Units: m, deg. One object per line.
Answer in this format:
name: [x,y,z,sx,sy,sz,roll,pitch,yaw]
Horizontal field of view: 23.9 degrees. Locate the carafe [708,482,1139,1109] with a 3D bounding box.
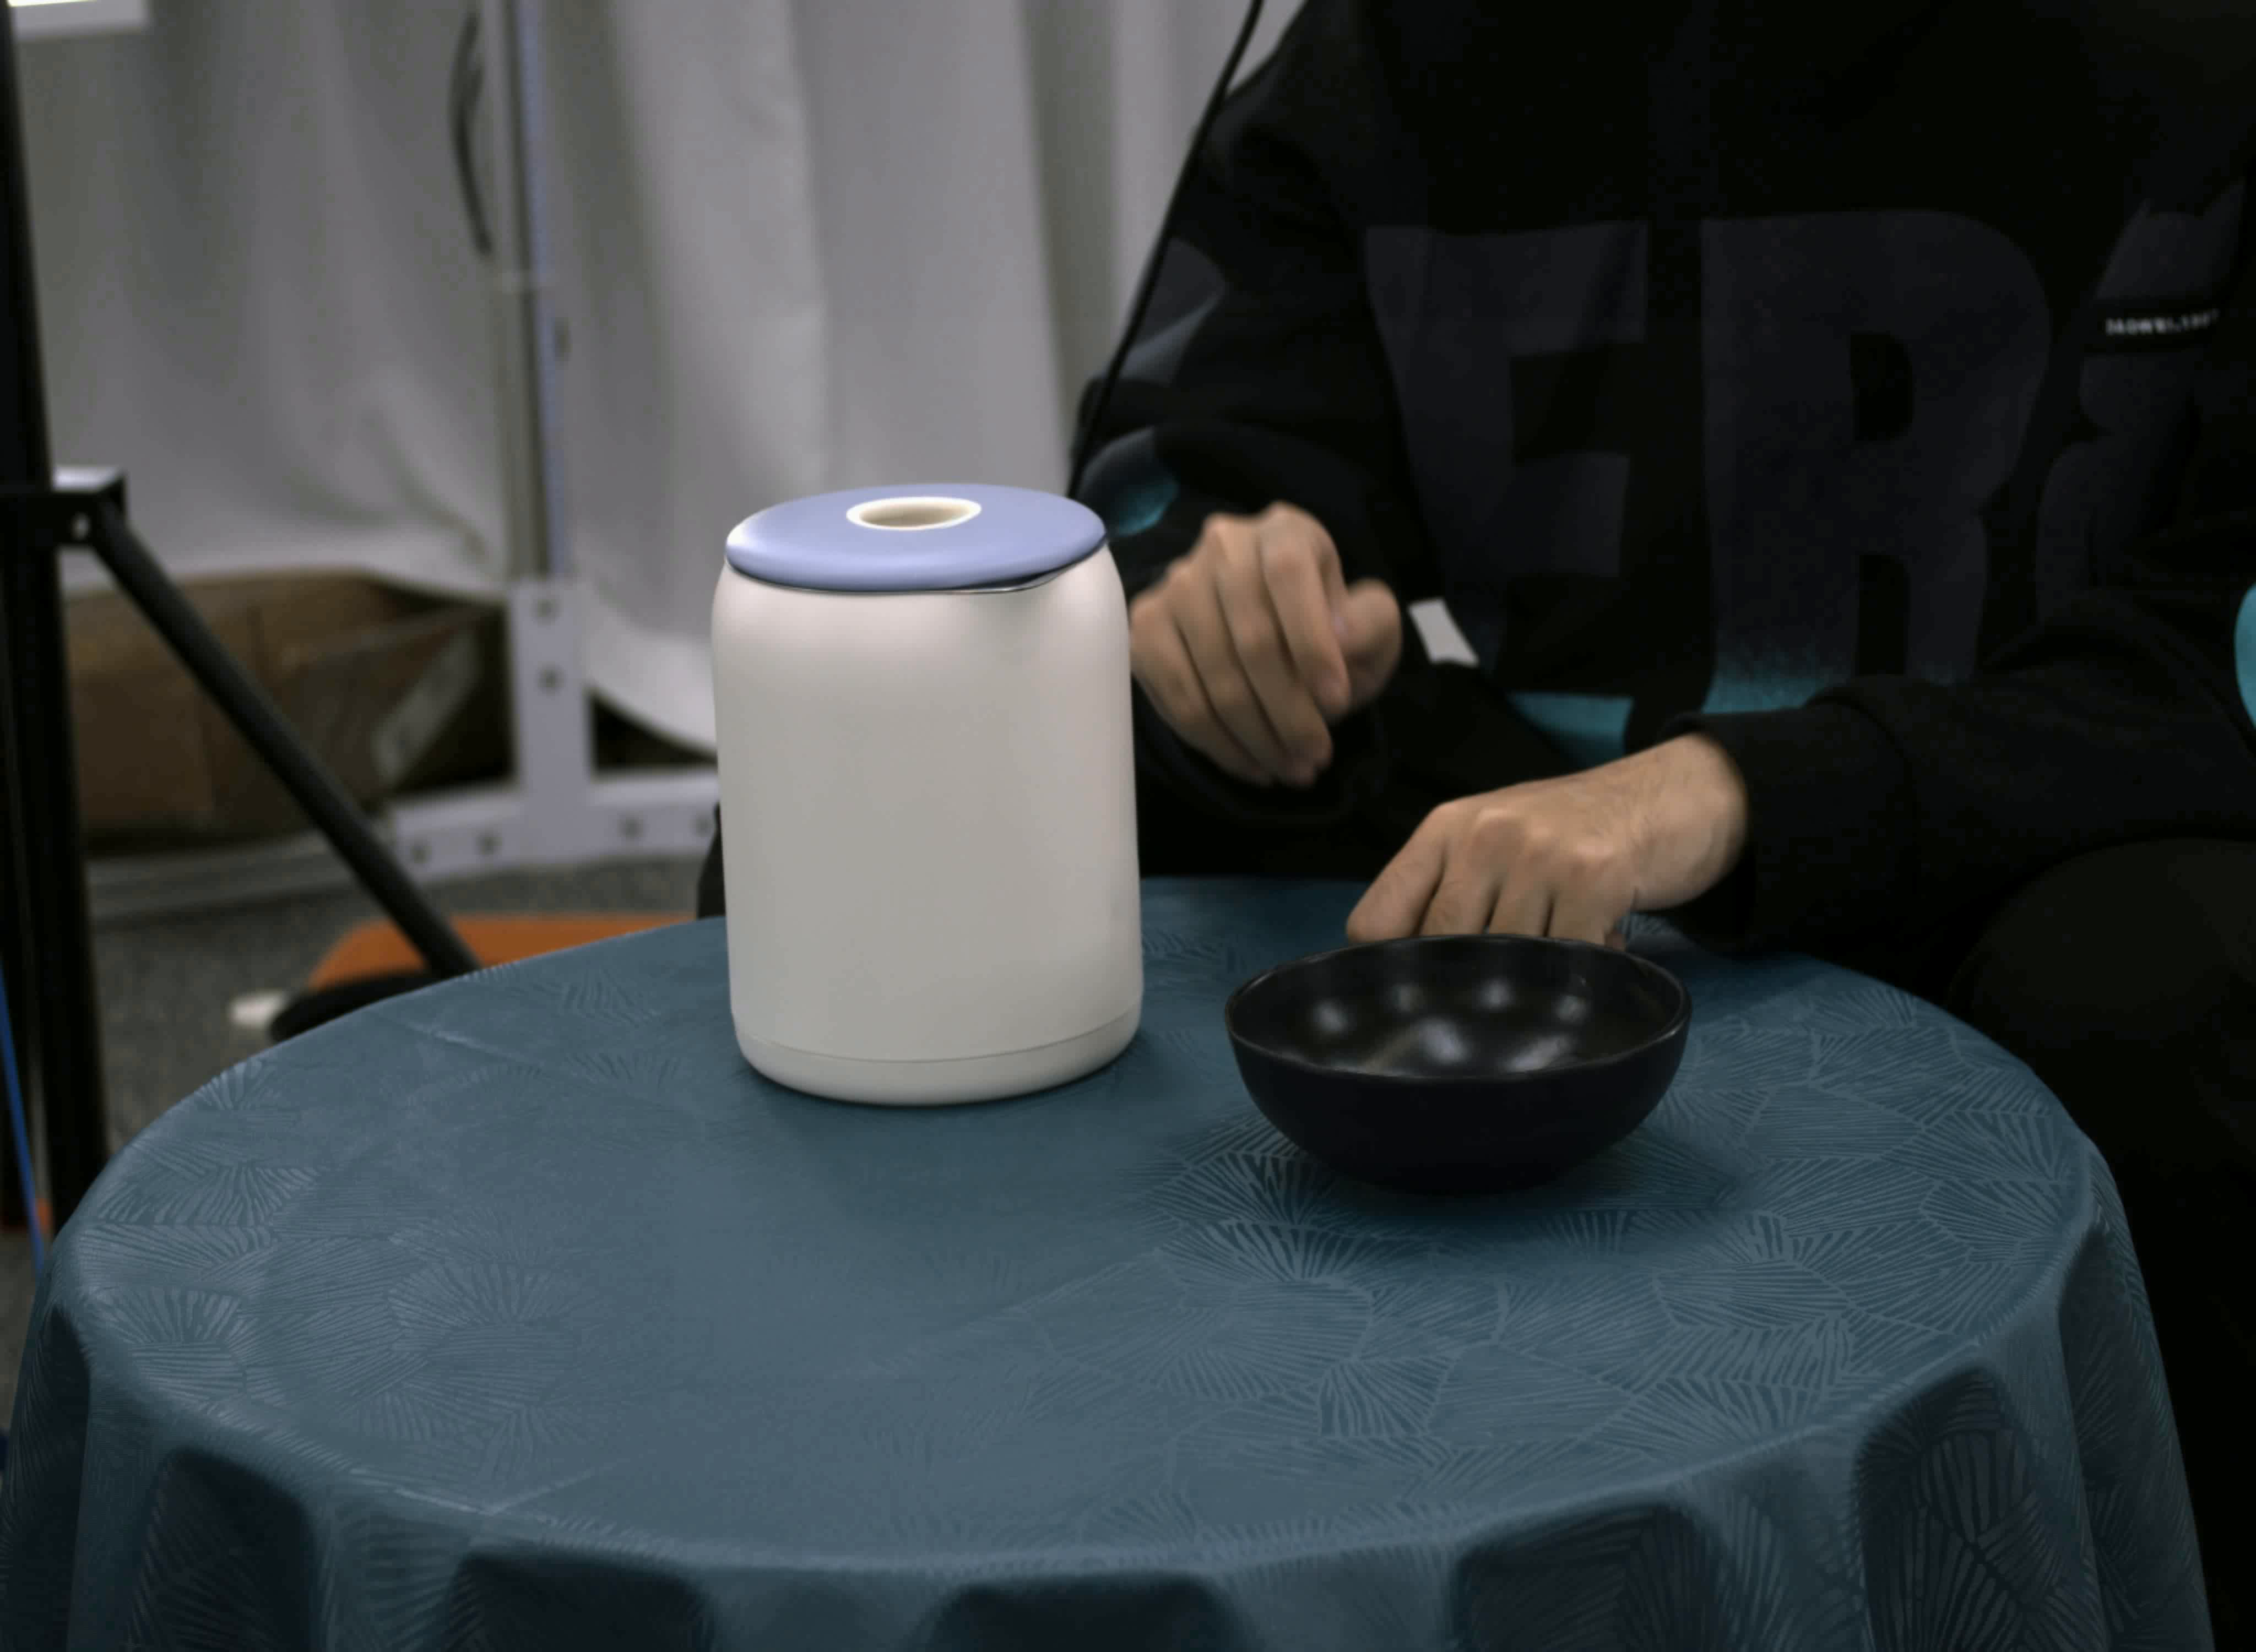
carafe: [-0.077,-0.015,1.695,0.129,0.182,0.195,-10,15,-30]

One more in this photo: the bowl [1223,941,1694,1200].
bowl: [0.098,0.076,1.563,0.139,0.050,0.140,-3,14,-1]
